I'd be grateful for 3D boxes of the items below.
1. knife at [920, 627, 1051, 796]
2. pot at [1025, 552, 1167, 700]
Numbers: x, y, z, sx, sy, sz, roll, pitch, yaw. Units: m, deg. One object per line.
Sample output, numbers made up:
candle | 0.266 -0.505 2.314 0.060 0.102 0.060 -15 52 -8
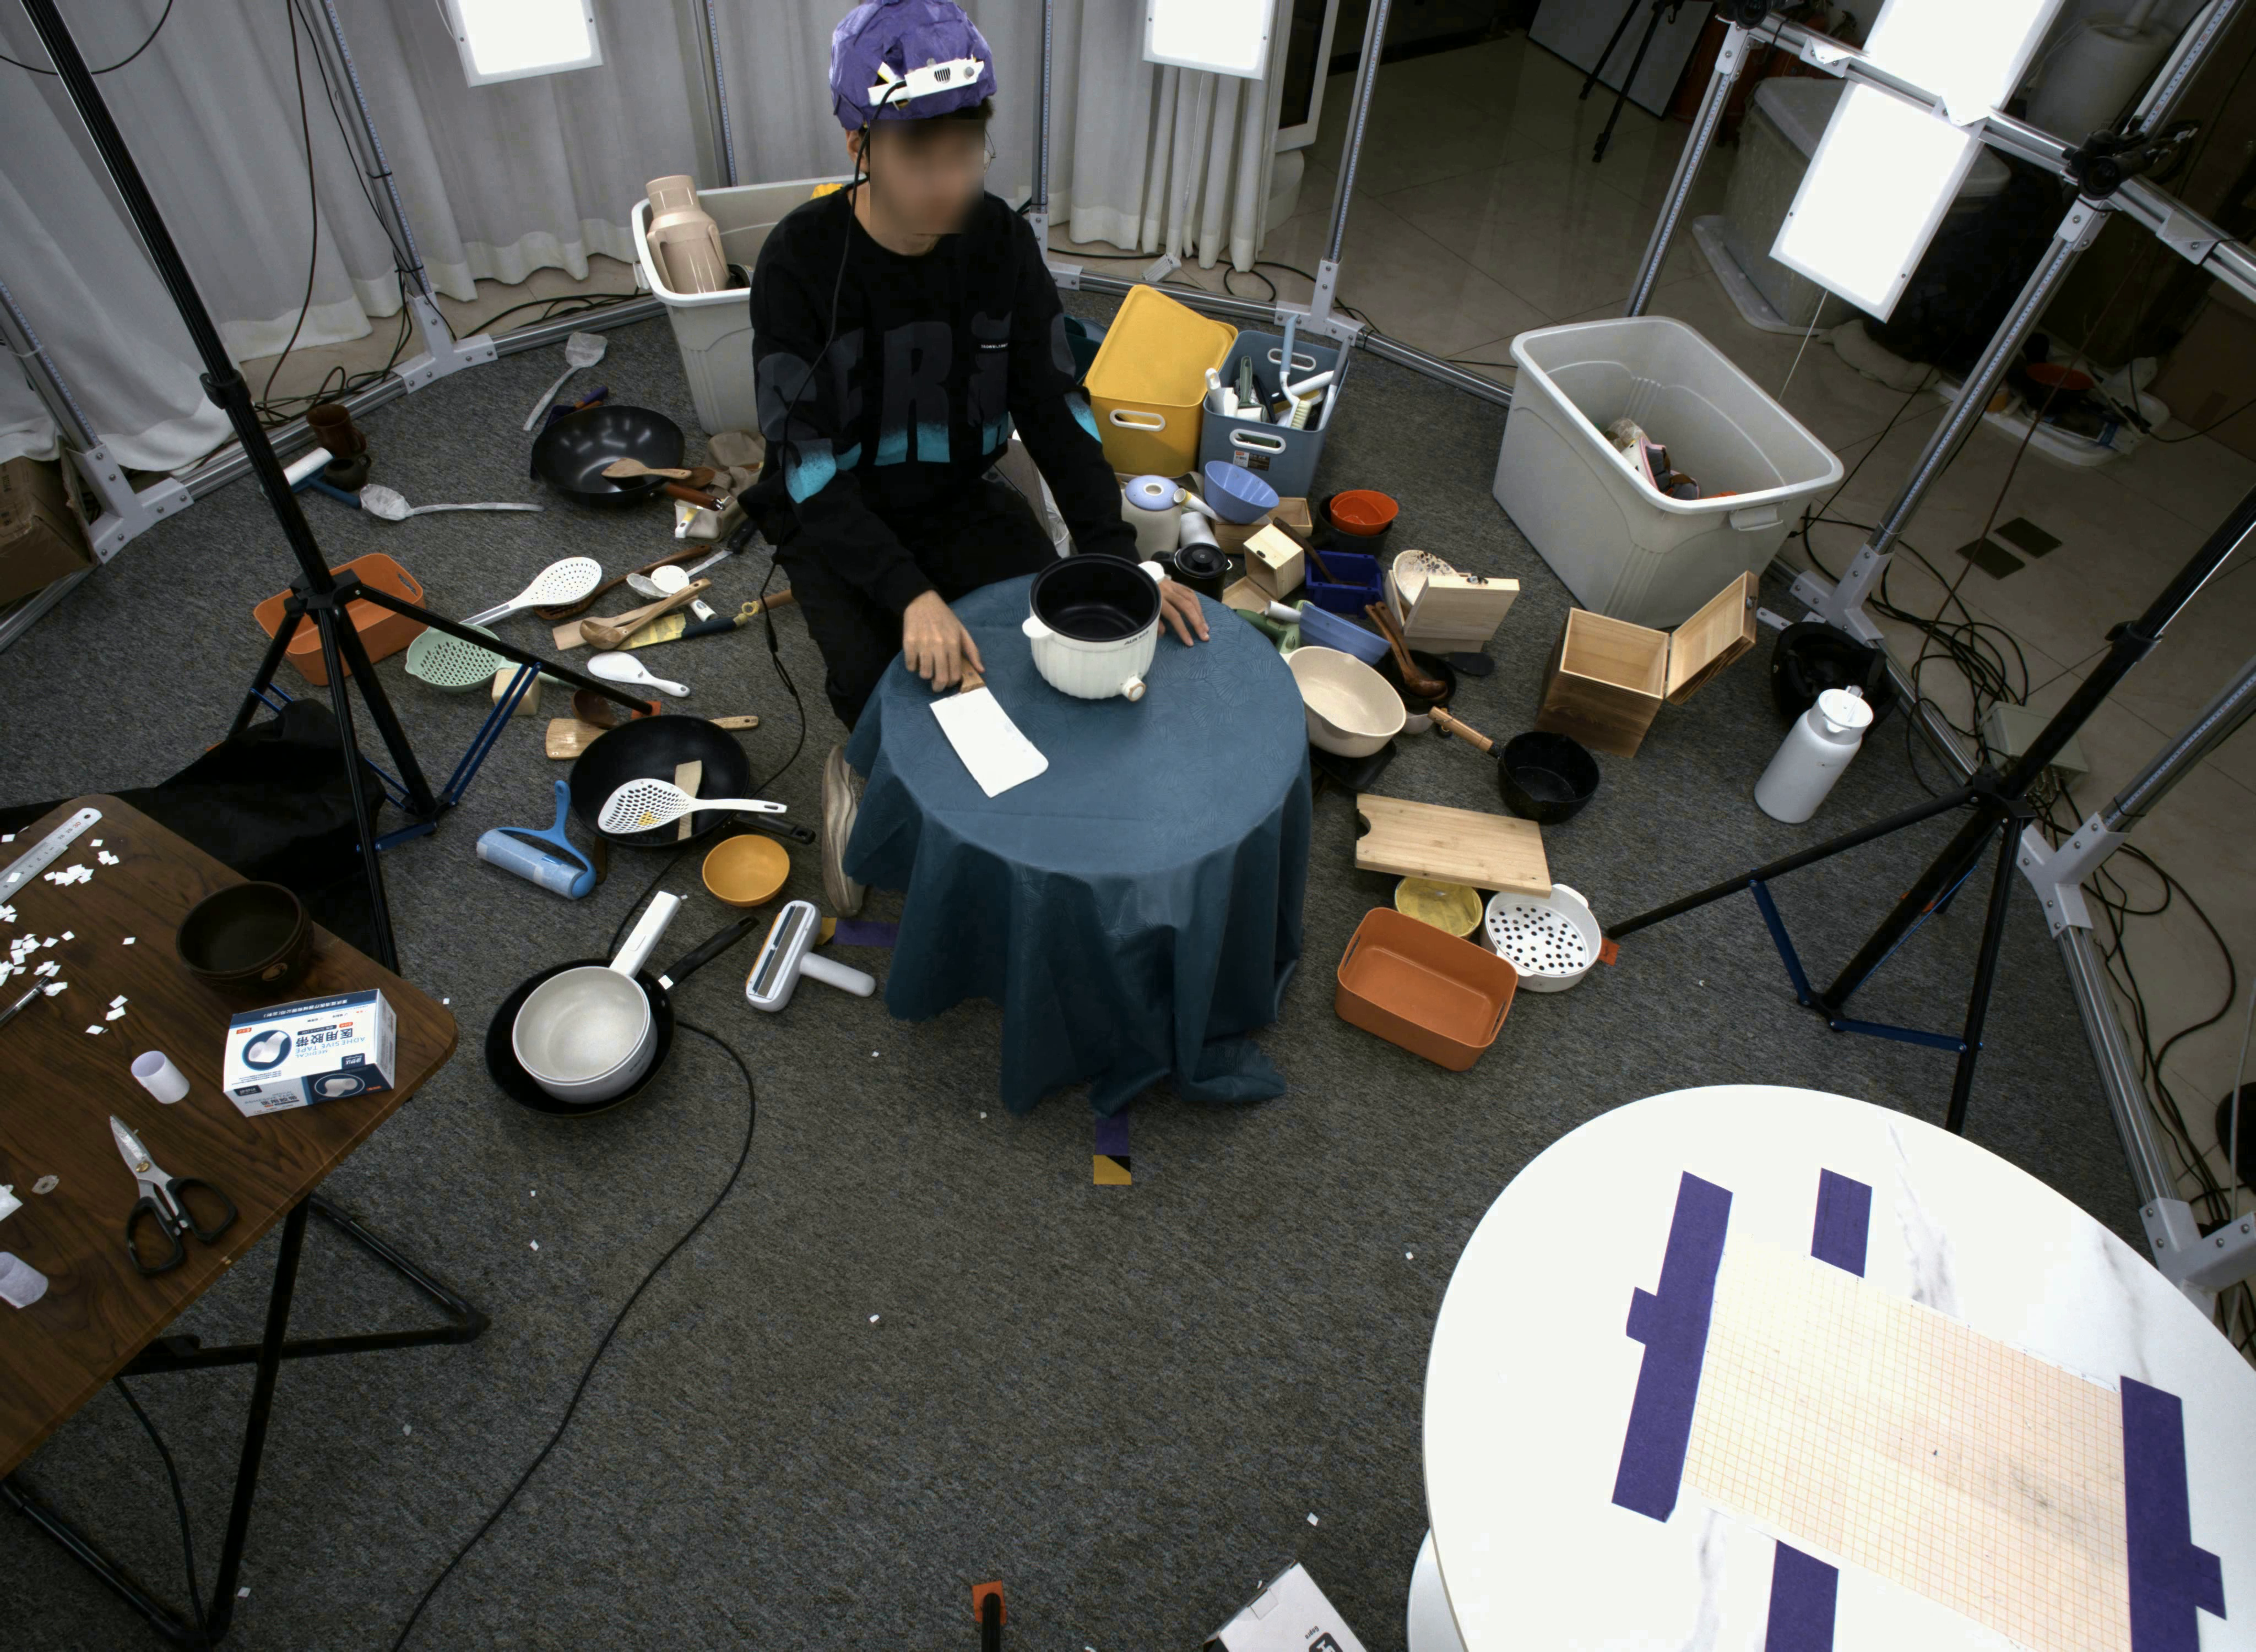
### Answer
knife | -0.211 -0.167 1.787 0.114 0.021 0.322 -19 55 -19
pot | -0.040 -0.273 1.813 0.242 0.139 0.194 -31 55 -26
